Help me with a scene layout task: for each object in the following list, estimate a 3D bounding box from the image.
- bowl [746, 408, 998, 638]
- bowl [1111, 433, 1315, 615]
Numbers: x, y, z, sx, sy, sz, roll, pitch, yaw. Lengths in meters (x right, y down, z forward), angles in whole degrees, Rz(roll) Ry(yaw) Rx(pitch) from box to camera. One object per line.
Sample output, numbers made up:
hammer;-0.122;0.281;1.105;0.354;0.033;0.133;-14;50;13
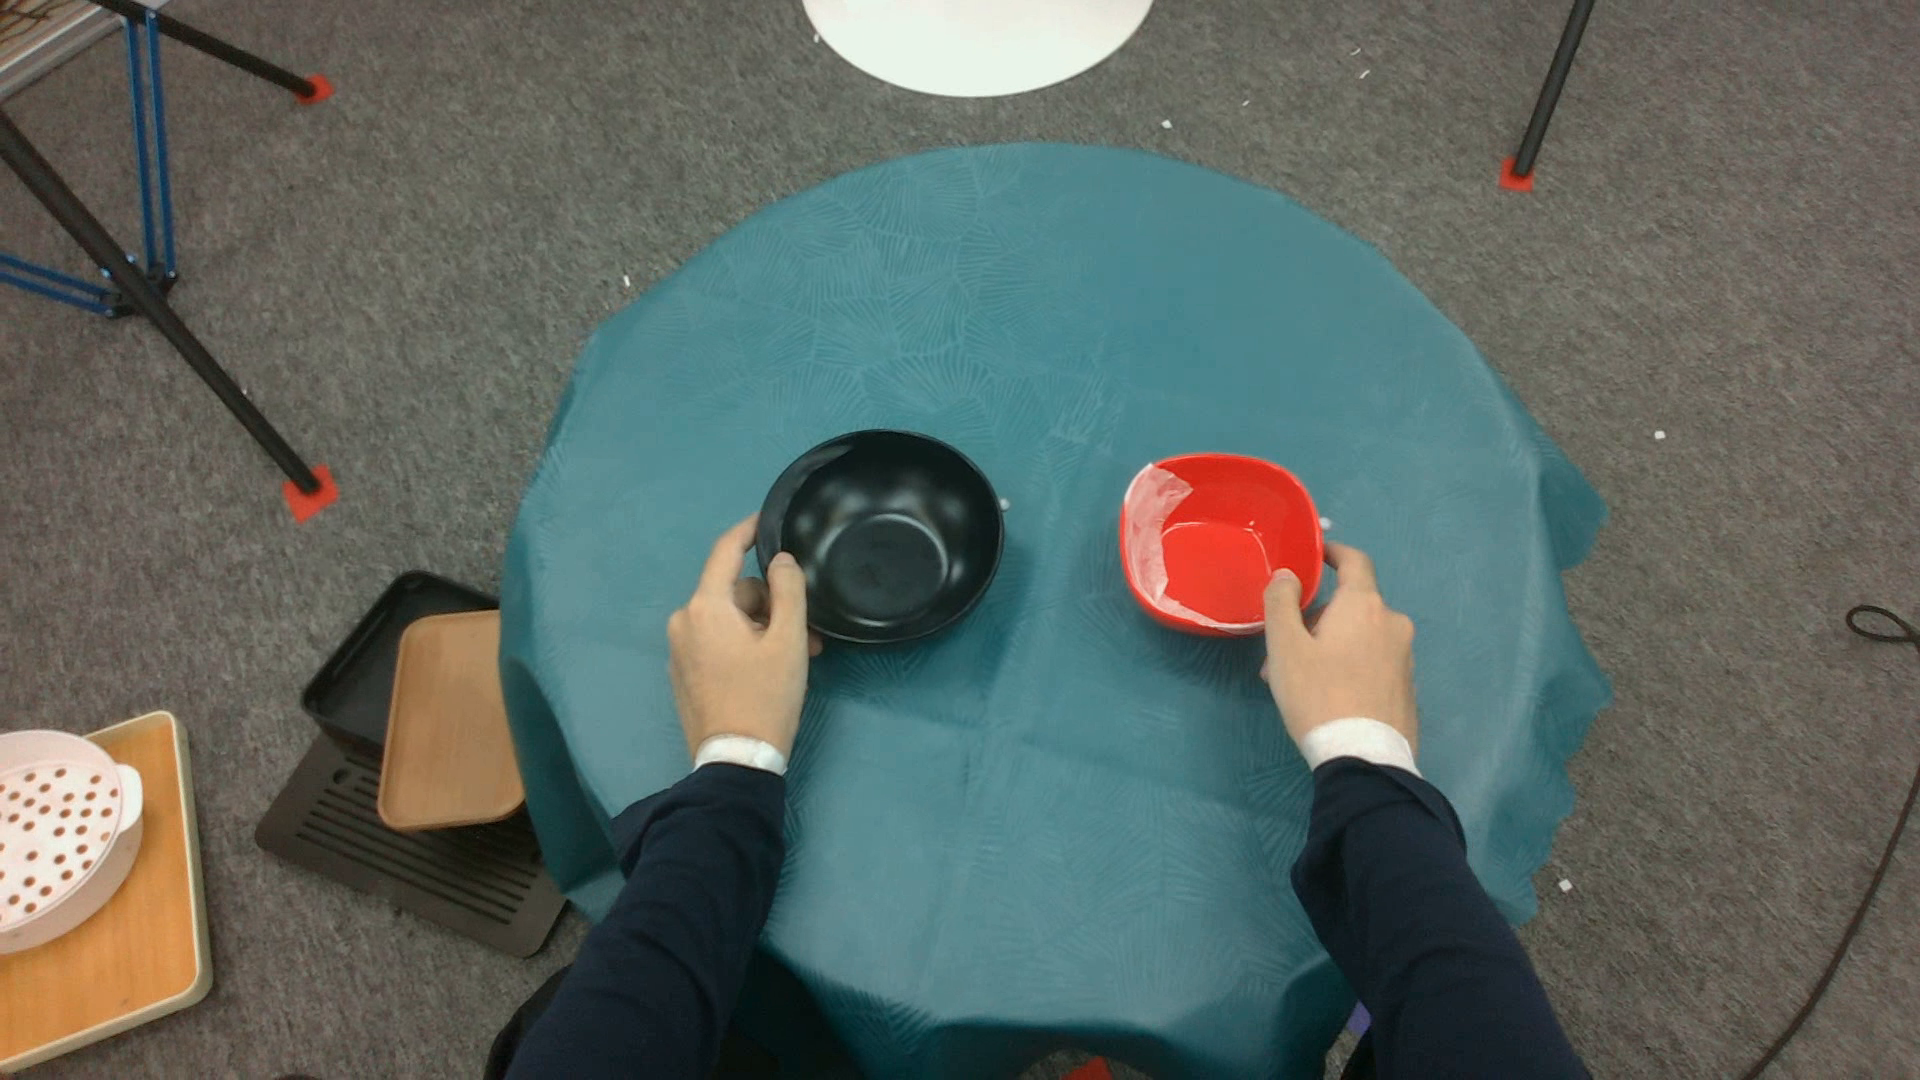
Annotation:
bowl;-0.048;-0.003;0.778;0.140;0.049;0.140;0;64;1
bowl;0.137;-0.001;0.768;0.119;0.051;0.119;0;59;0
